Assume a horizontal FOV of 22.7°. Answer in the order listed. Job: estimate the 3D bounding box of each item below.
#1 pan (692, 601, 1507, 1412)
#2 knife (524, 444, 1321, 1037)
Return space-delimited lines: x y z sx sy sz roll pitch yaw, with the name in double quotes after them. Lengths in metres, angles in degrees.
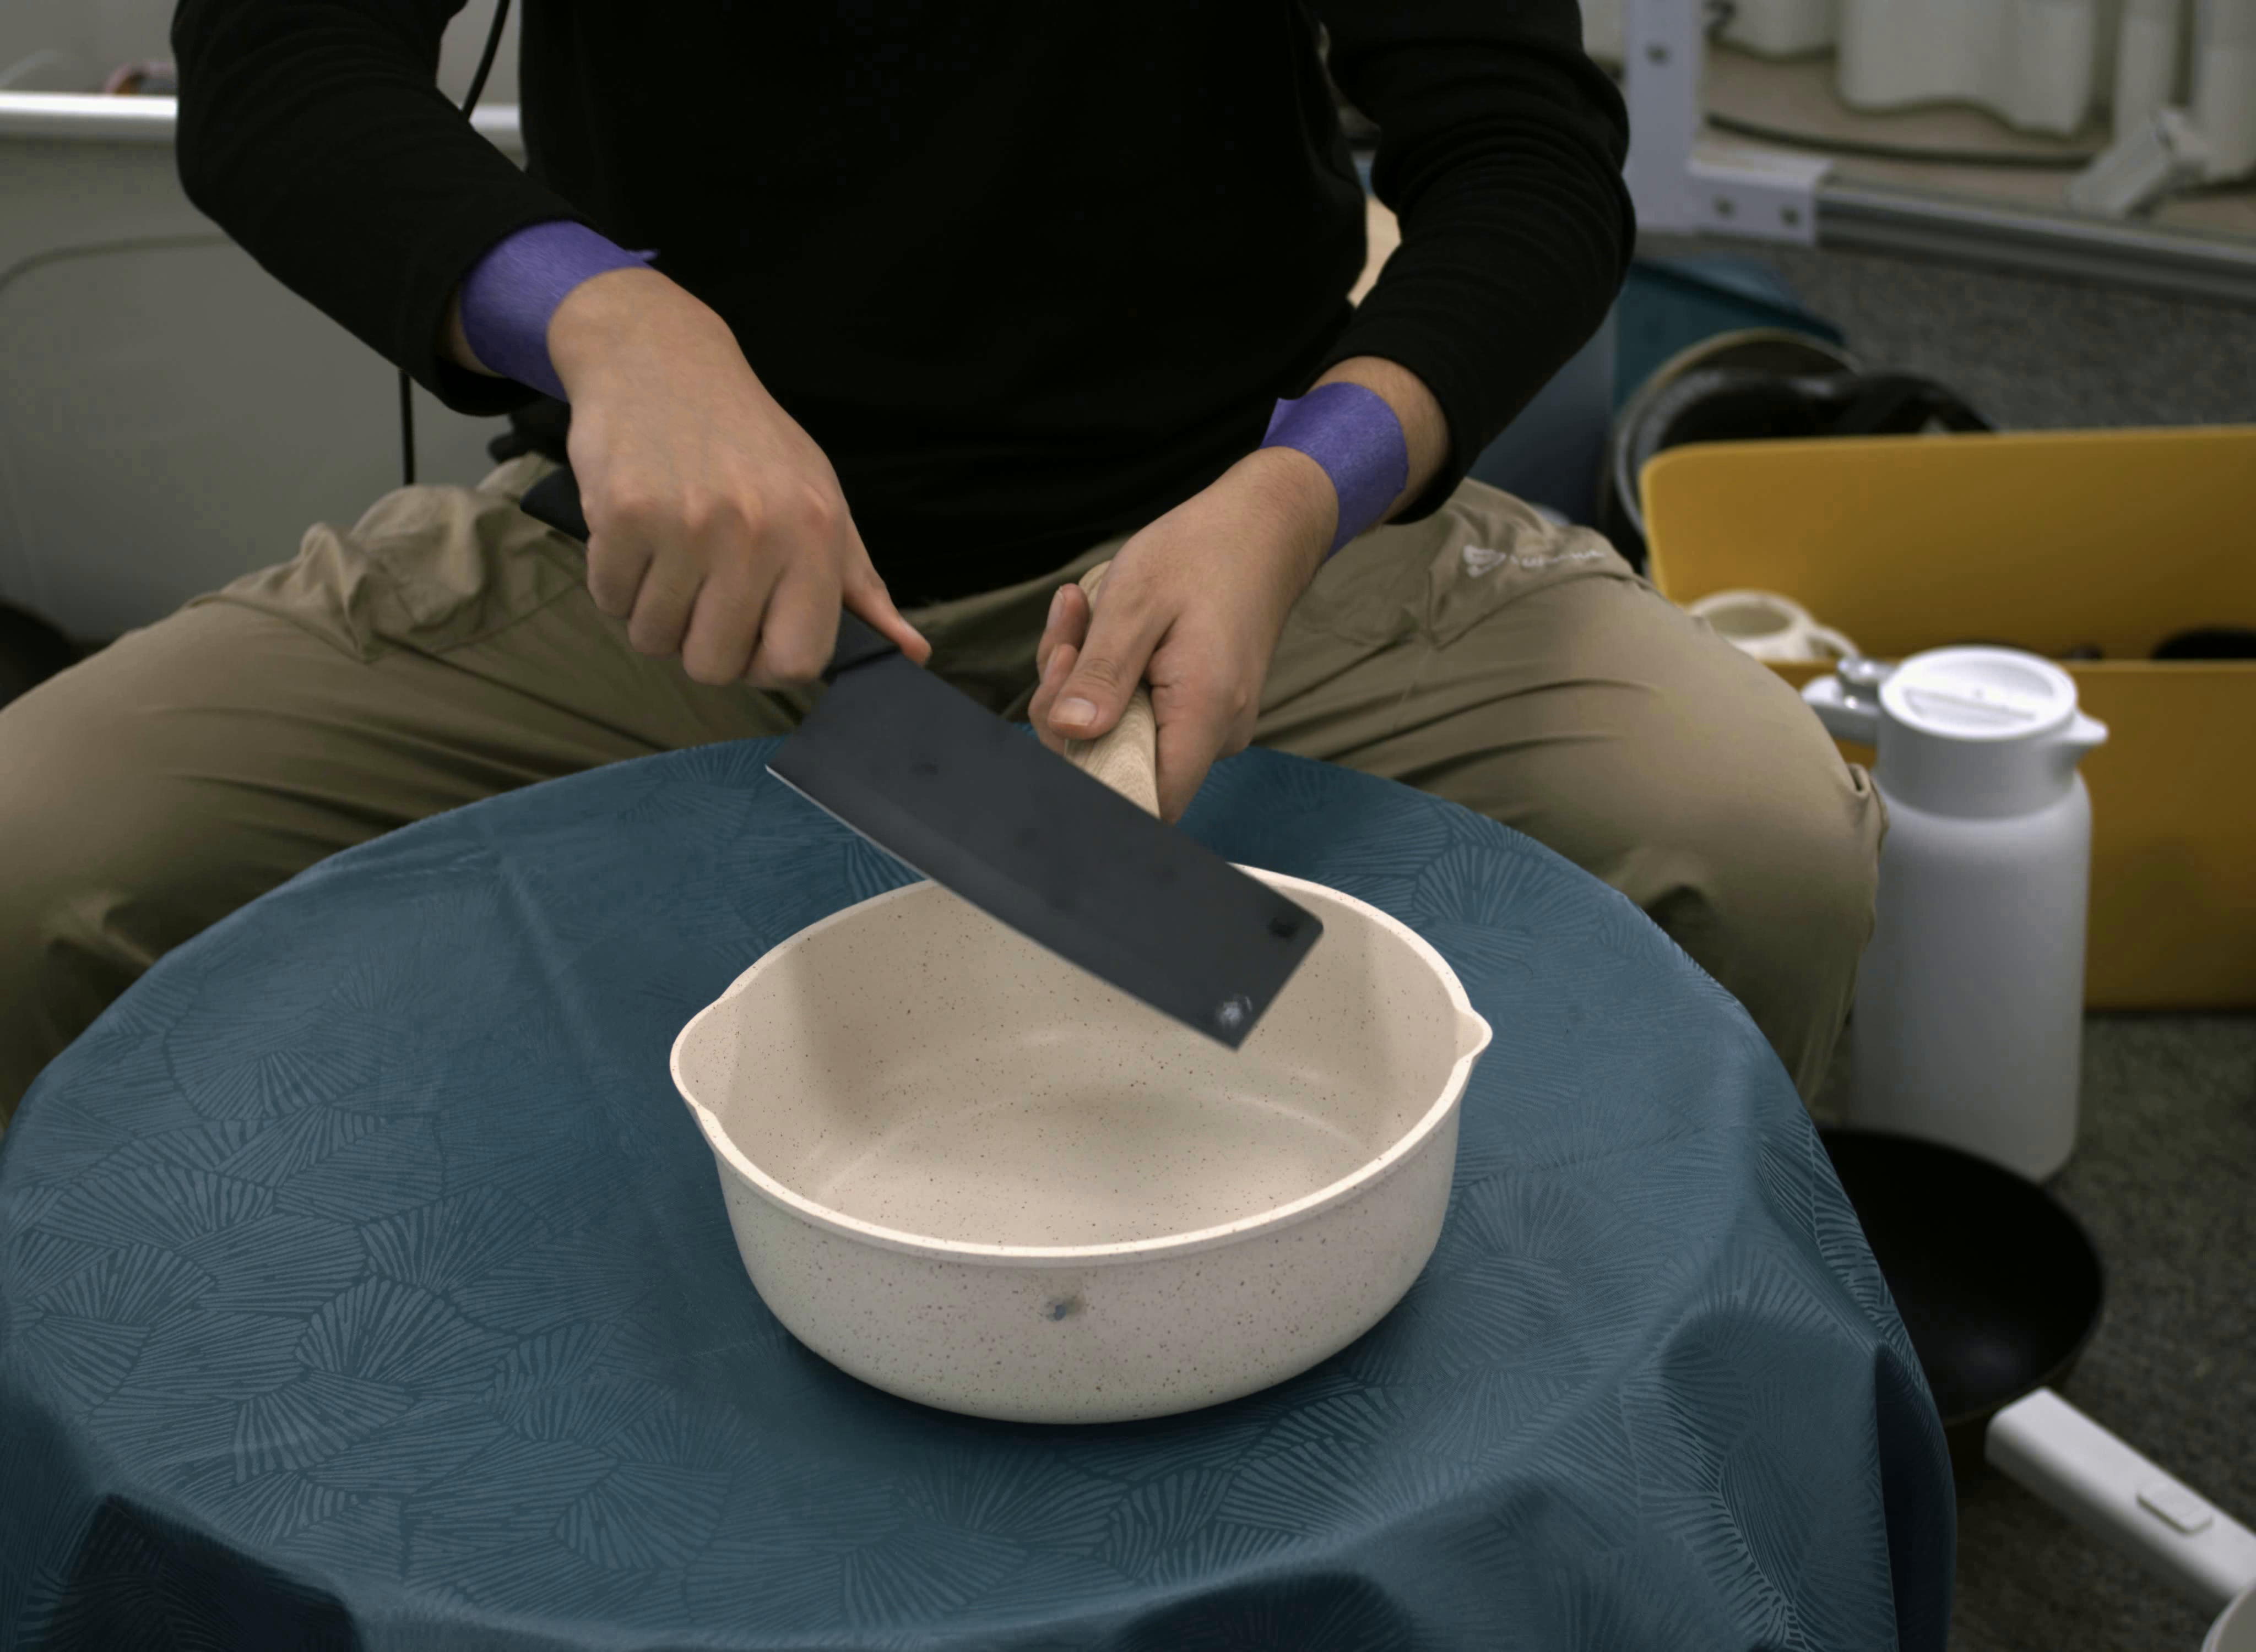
0.002 0.057 1.891 0.262 0.101 0.441 -3 25 7 "pan"
-0.074 -0.032 1.841 0.302 0.020 0.082 36 56 11 "knife"
